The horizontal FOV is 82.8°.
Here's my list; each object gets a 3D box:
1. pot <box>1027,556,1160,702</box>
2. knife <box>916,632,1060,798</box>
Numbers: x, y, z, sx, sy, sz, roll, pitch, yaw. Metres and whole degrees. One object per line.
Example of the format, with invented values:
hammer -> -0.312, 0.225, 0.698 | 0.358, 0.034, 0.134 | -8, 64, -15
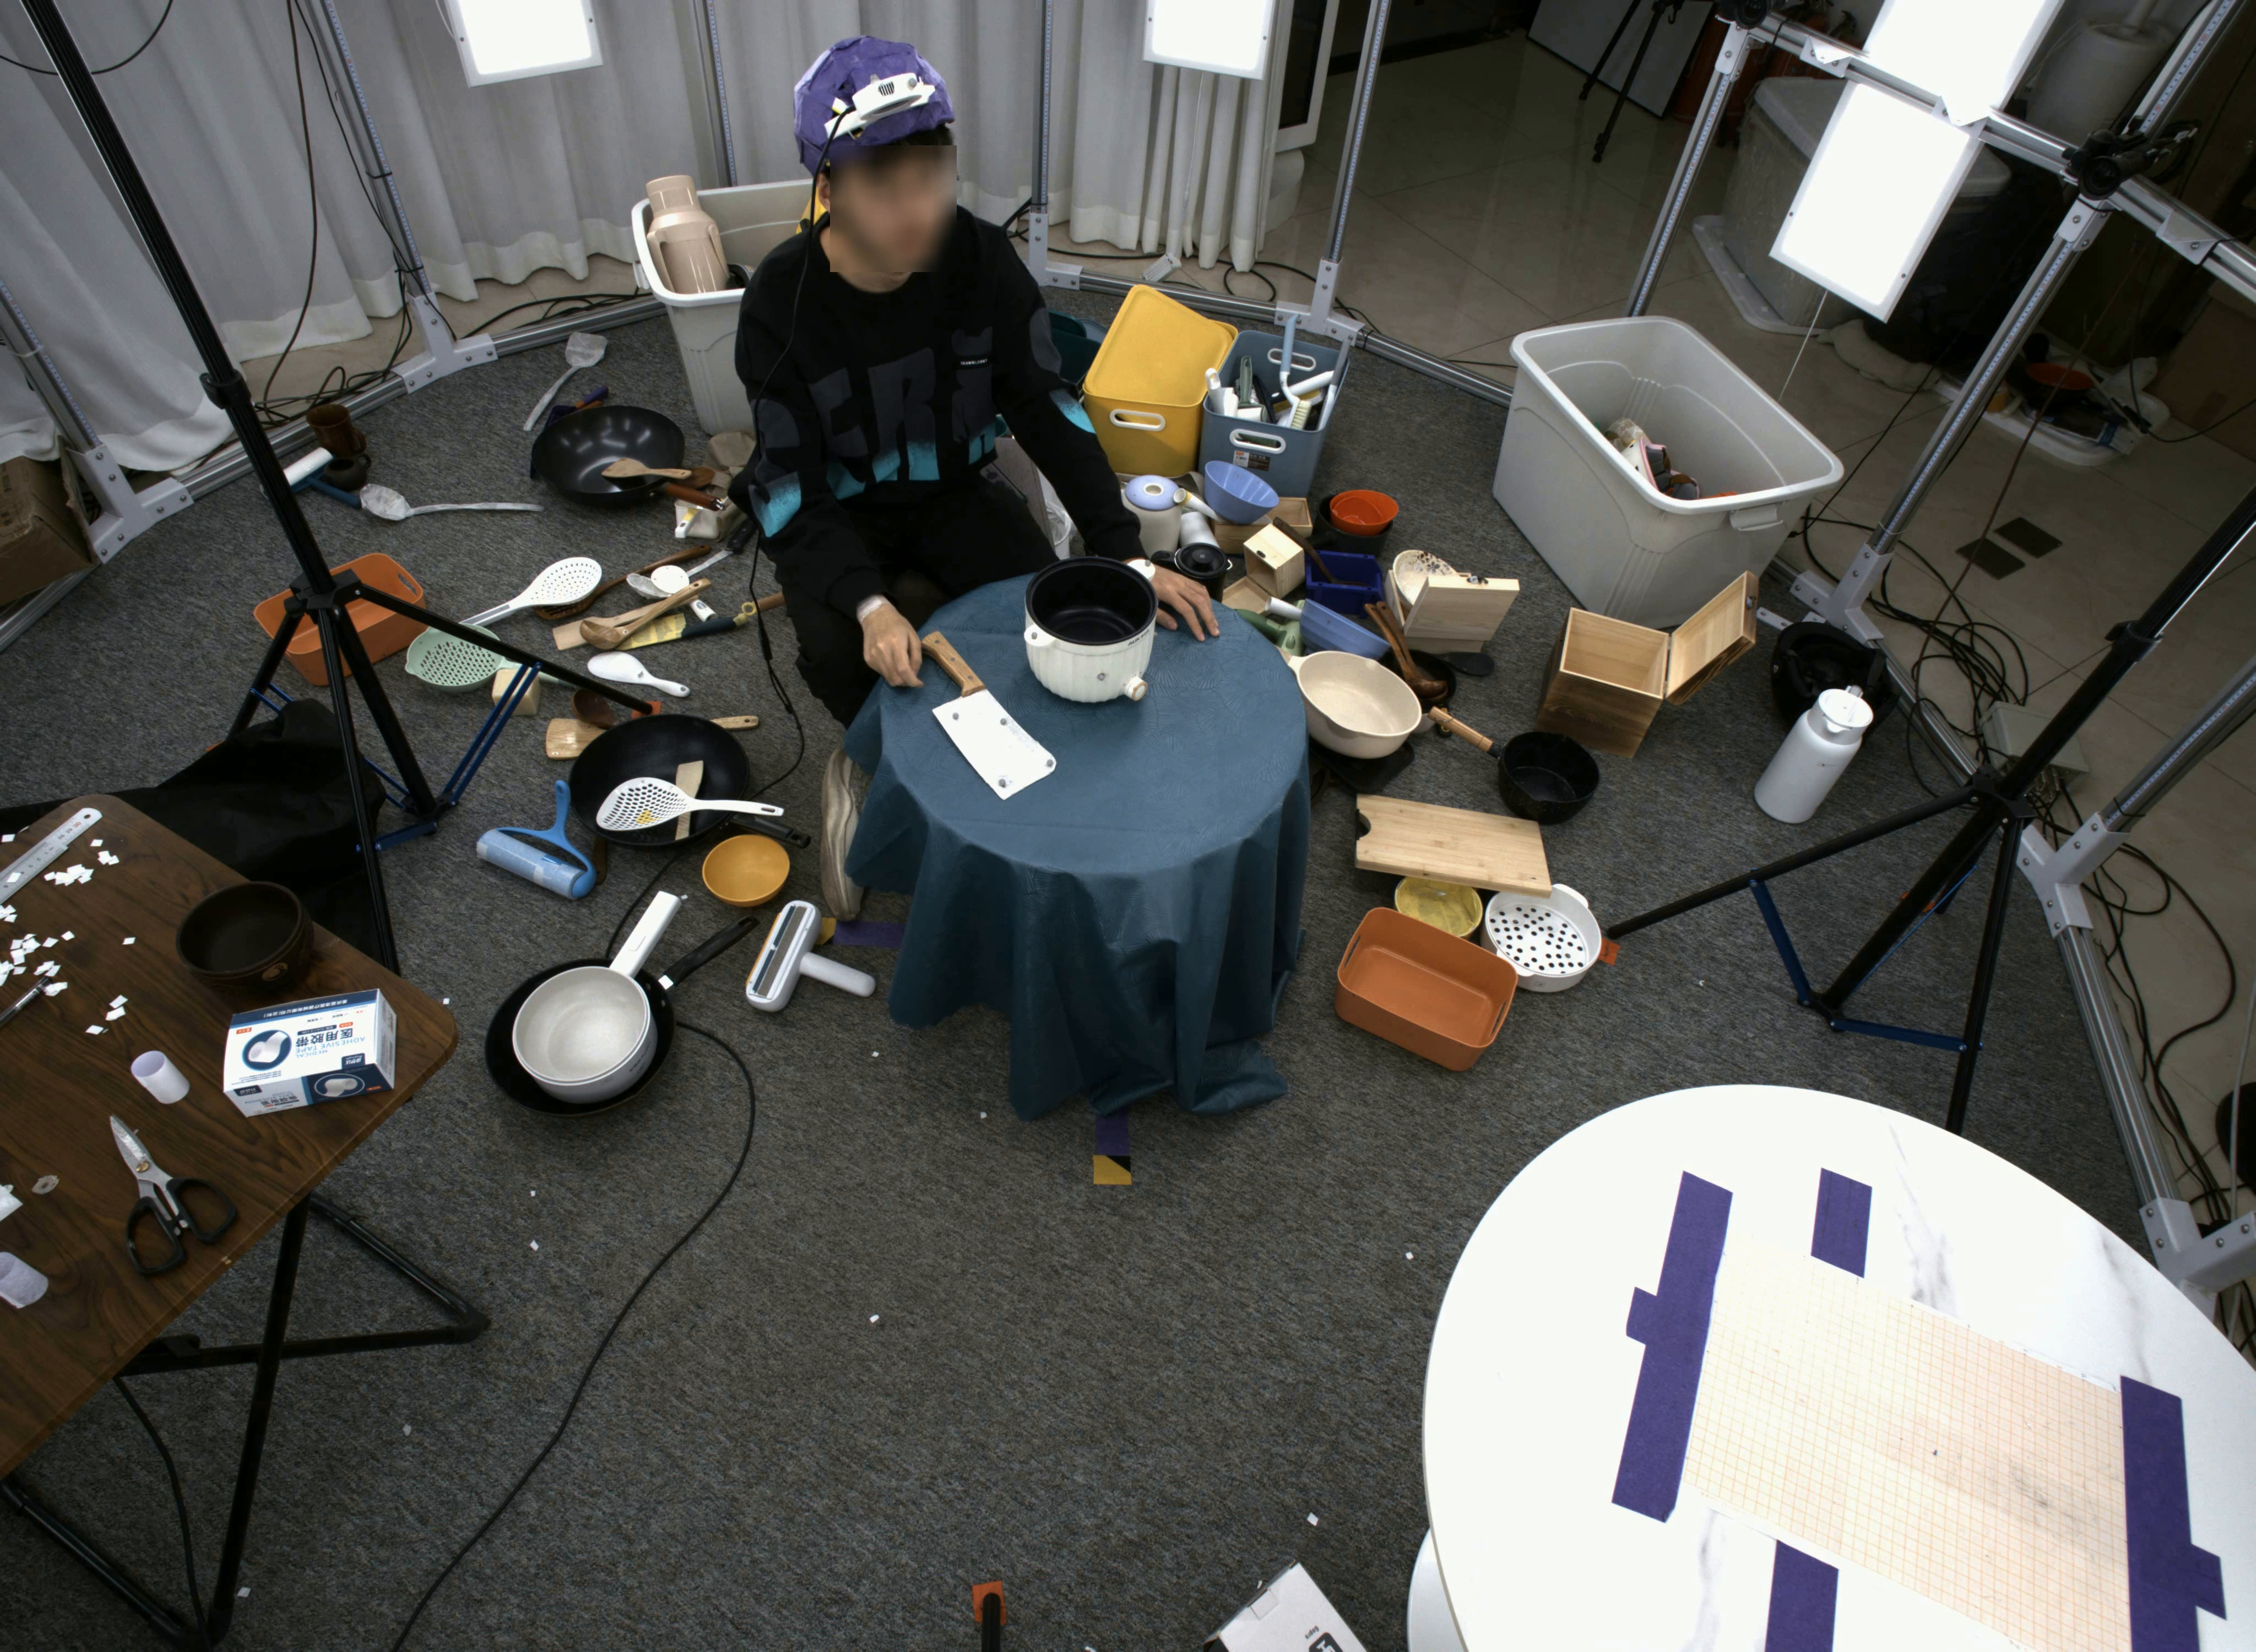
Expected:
pot -> -0.045, -0.268, 1.808 | 0.193, 0.139, 0.243 | 35, 56, 27
knife -> -0.207, -0.161, 1.783 | 0.114, 0.021, 0.322 | -23, 57, -22
